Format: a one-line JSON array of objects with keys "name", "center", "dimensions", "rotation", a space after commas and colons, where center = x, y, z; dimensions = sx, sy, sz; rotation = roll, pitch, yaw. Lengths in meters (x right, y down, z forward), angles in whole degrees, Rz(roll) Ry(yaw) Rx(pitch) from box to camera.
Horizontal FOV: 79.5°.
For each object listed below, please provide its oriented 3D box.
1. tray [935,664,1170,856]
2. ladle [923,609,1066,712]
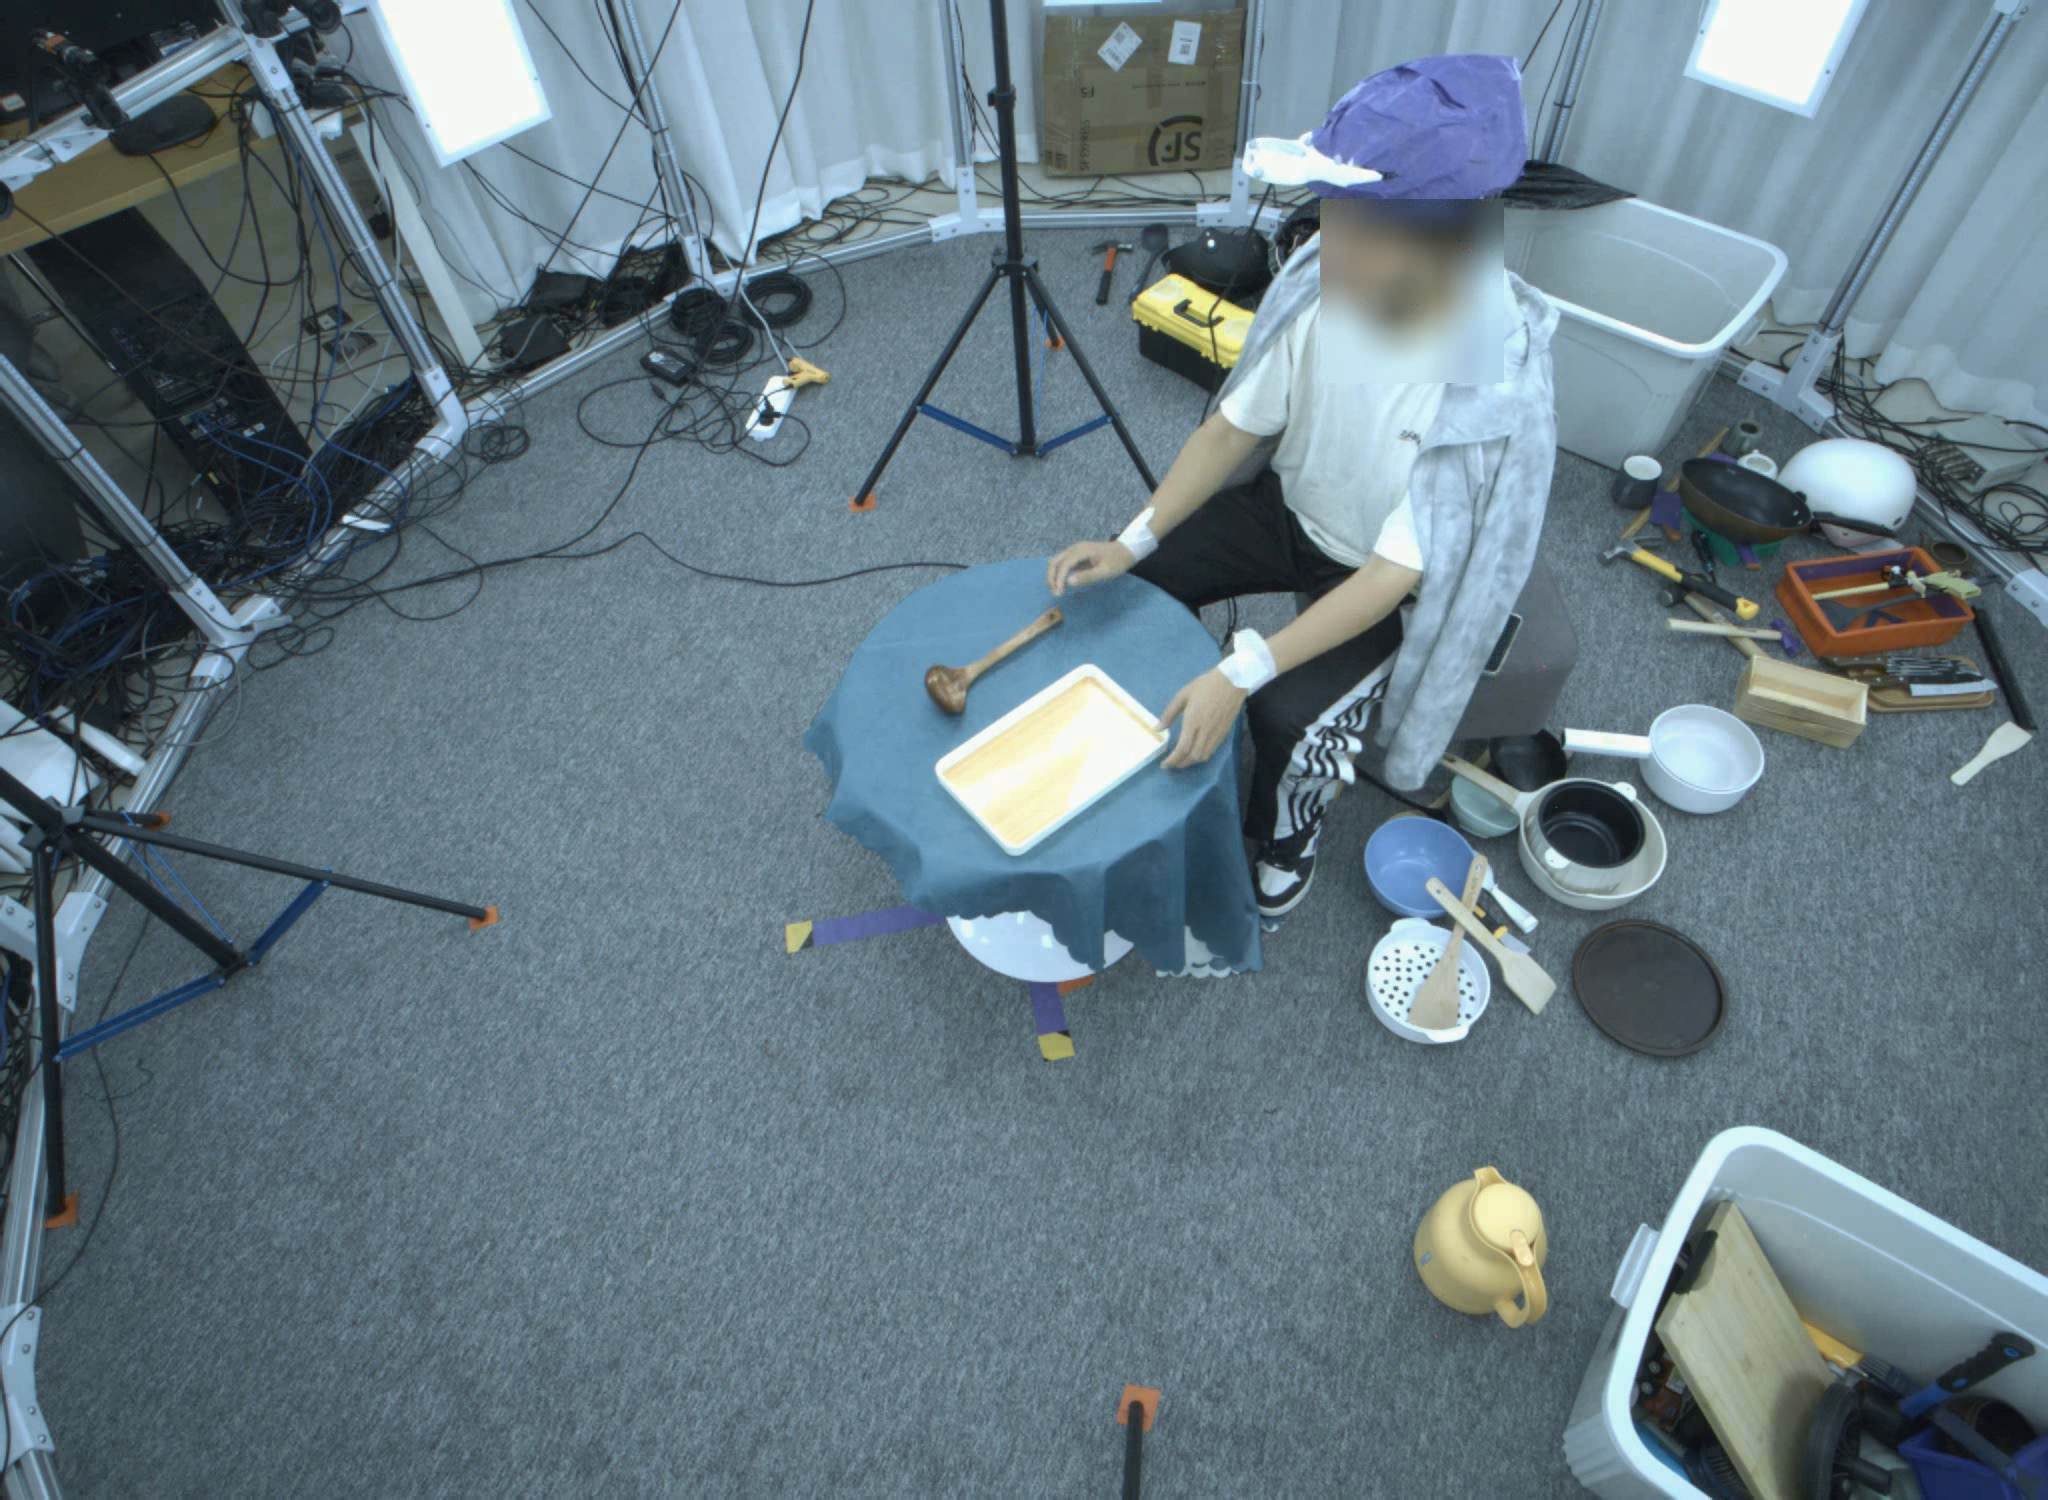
[{"name": "tray", "center": [0.042, 0.009, 1.765], "dimensions": [0.302, 0.028, 0.188], "rotation": [-34, 60, -20]}, {"name": "ladle", "center": [-0.037, -0.148, 1.852], "dimensions": [0.276, 0.075, 0.082], "rotation": [-34, 99, -21]}]
